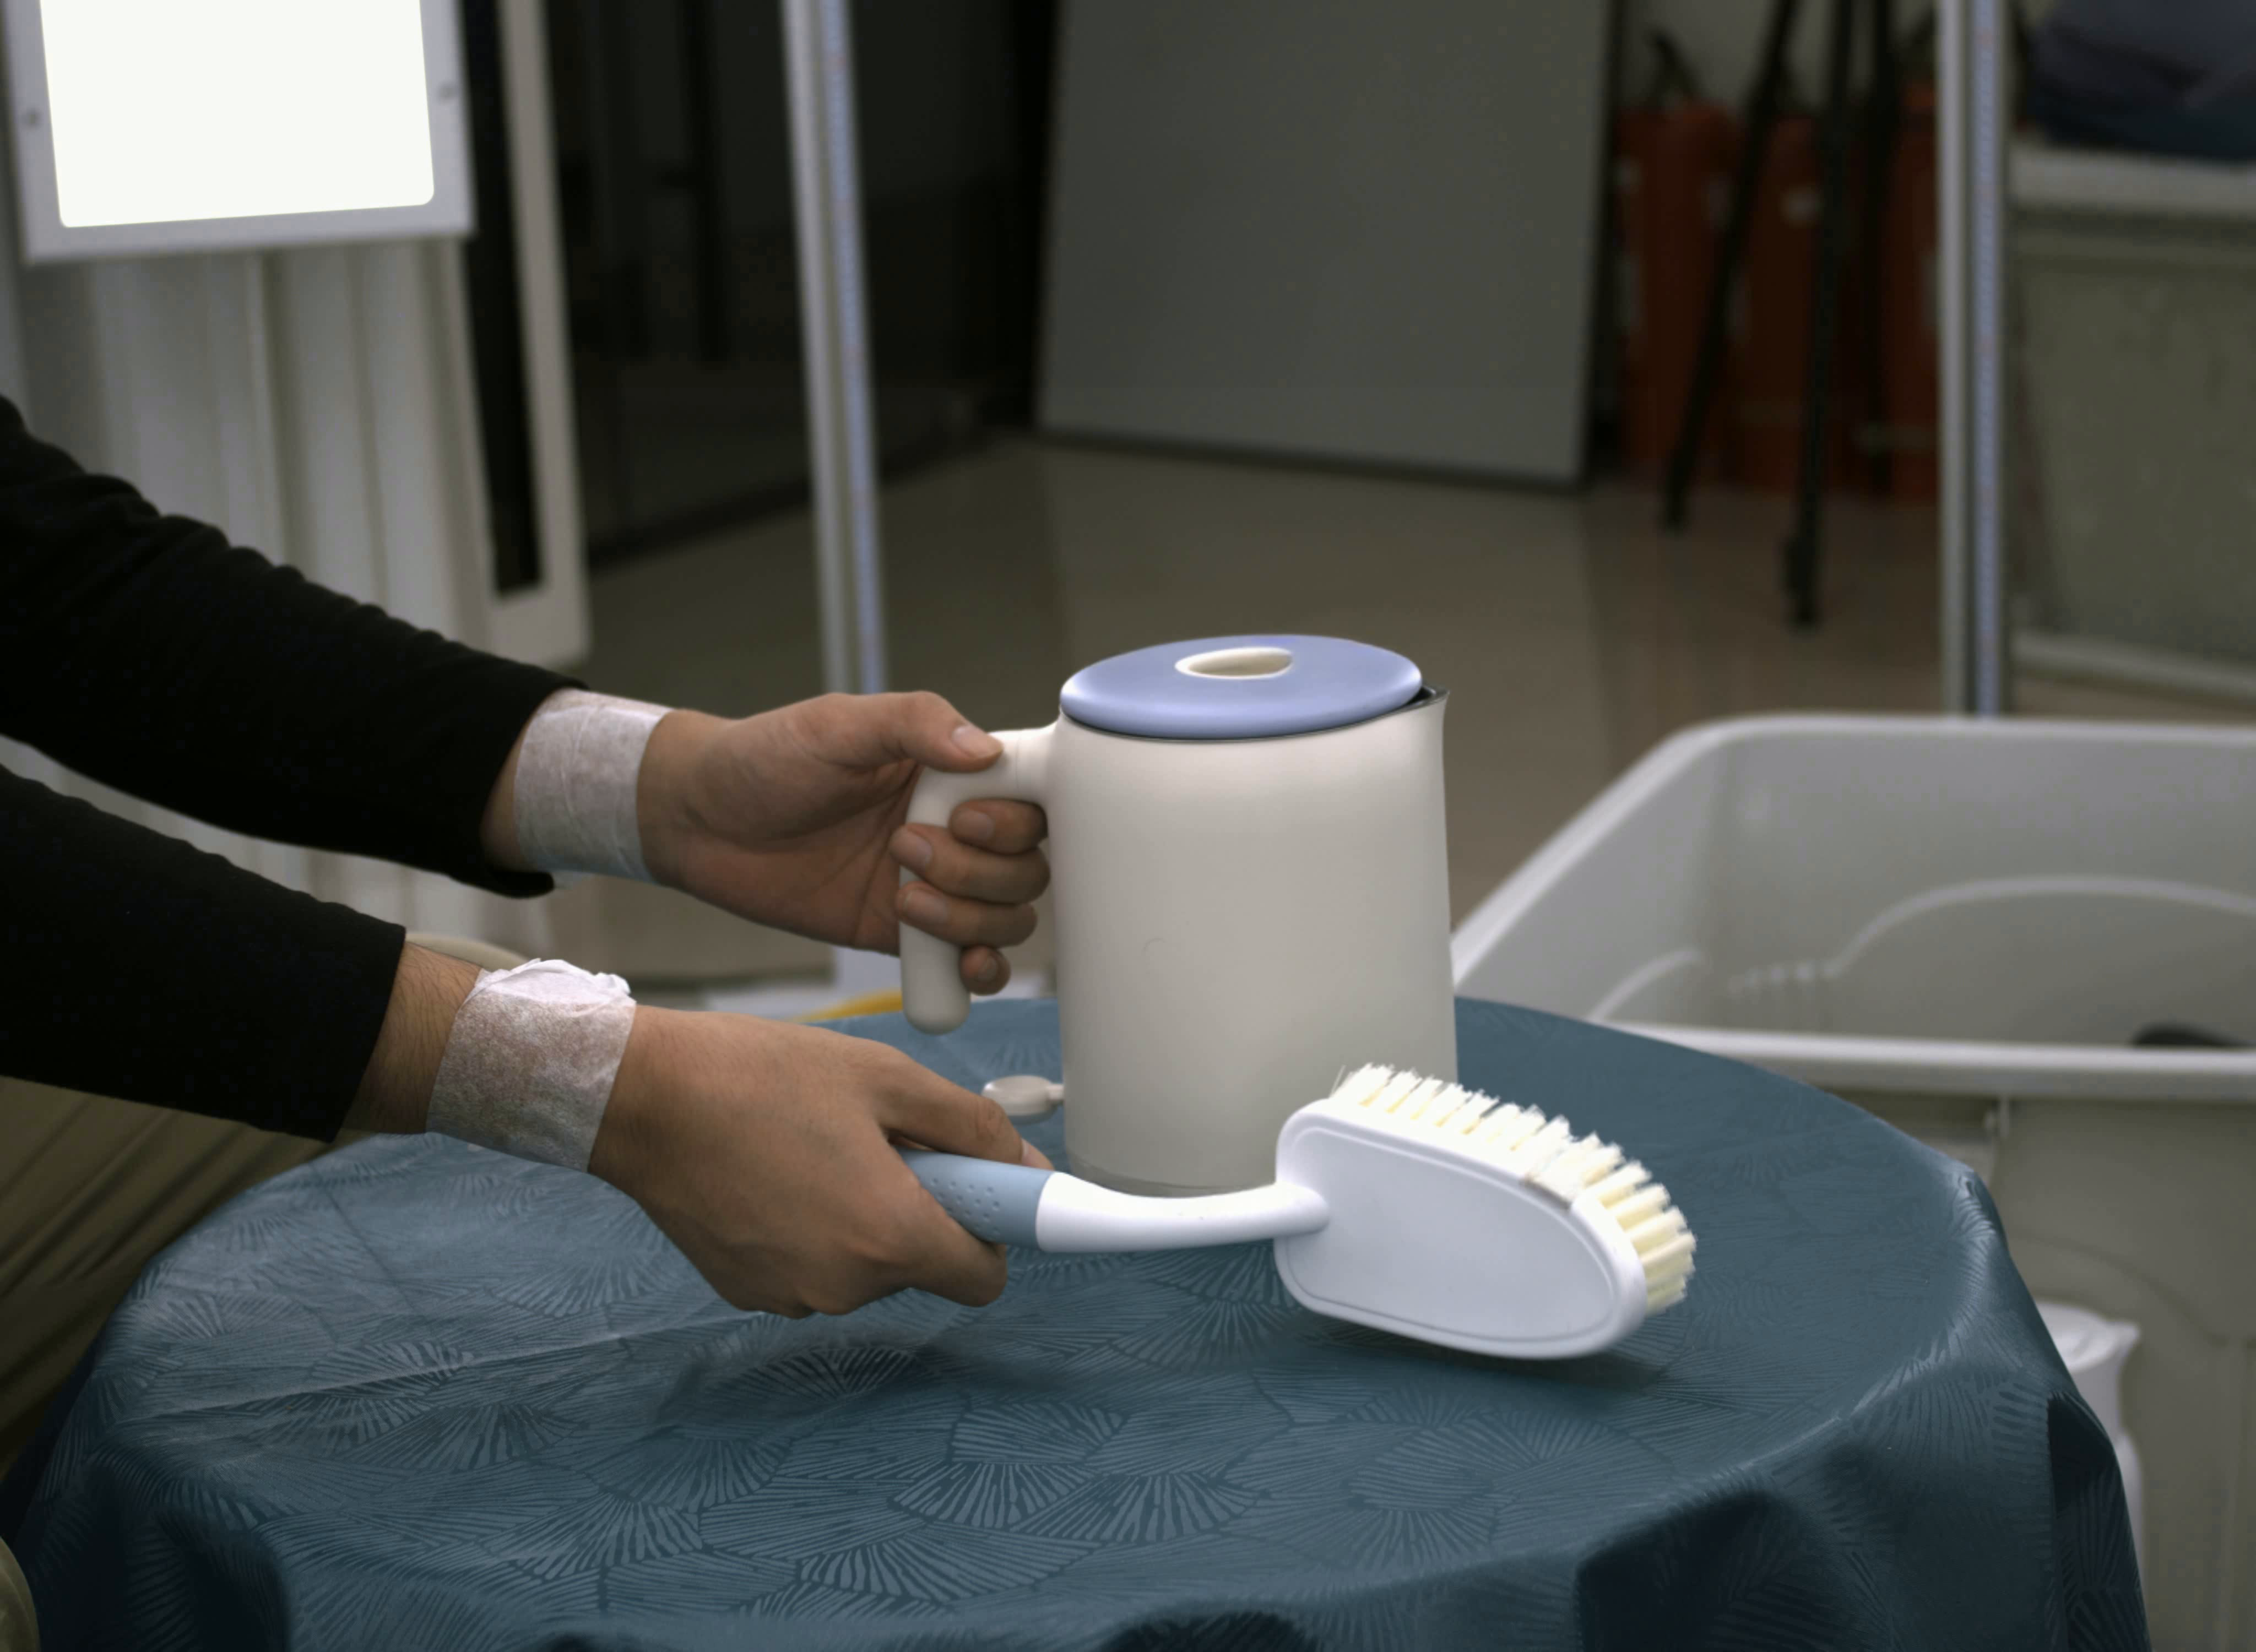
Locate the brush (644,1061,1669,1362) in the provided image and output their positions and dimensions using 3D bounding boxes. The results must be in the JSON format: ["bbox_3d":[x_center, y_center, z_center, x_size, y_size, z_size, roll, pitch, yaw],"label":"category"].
[{"bbox_3d":[0.010,0.102,1.624,0.325,0.084,0.084,8,-17,22],"label":"brush"}]

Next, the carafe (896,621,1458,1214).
[{"bbox_3d":[0.016,0.033,1.761,0.190,0.184,0.131,-2,13,11],"label":"carafe"}]
